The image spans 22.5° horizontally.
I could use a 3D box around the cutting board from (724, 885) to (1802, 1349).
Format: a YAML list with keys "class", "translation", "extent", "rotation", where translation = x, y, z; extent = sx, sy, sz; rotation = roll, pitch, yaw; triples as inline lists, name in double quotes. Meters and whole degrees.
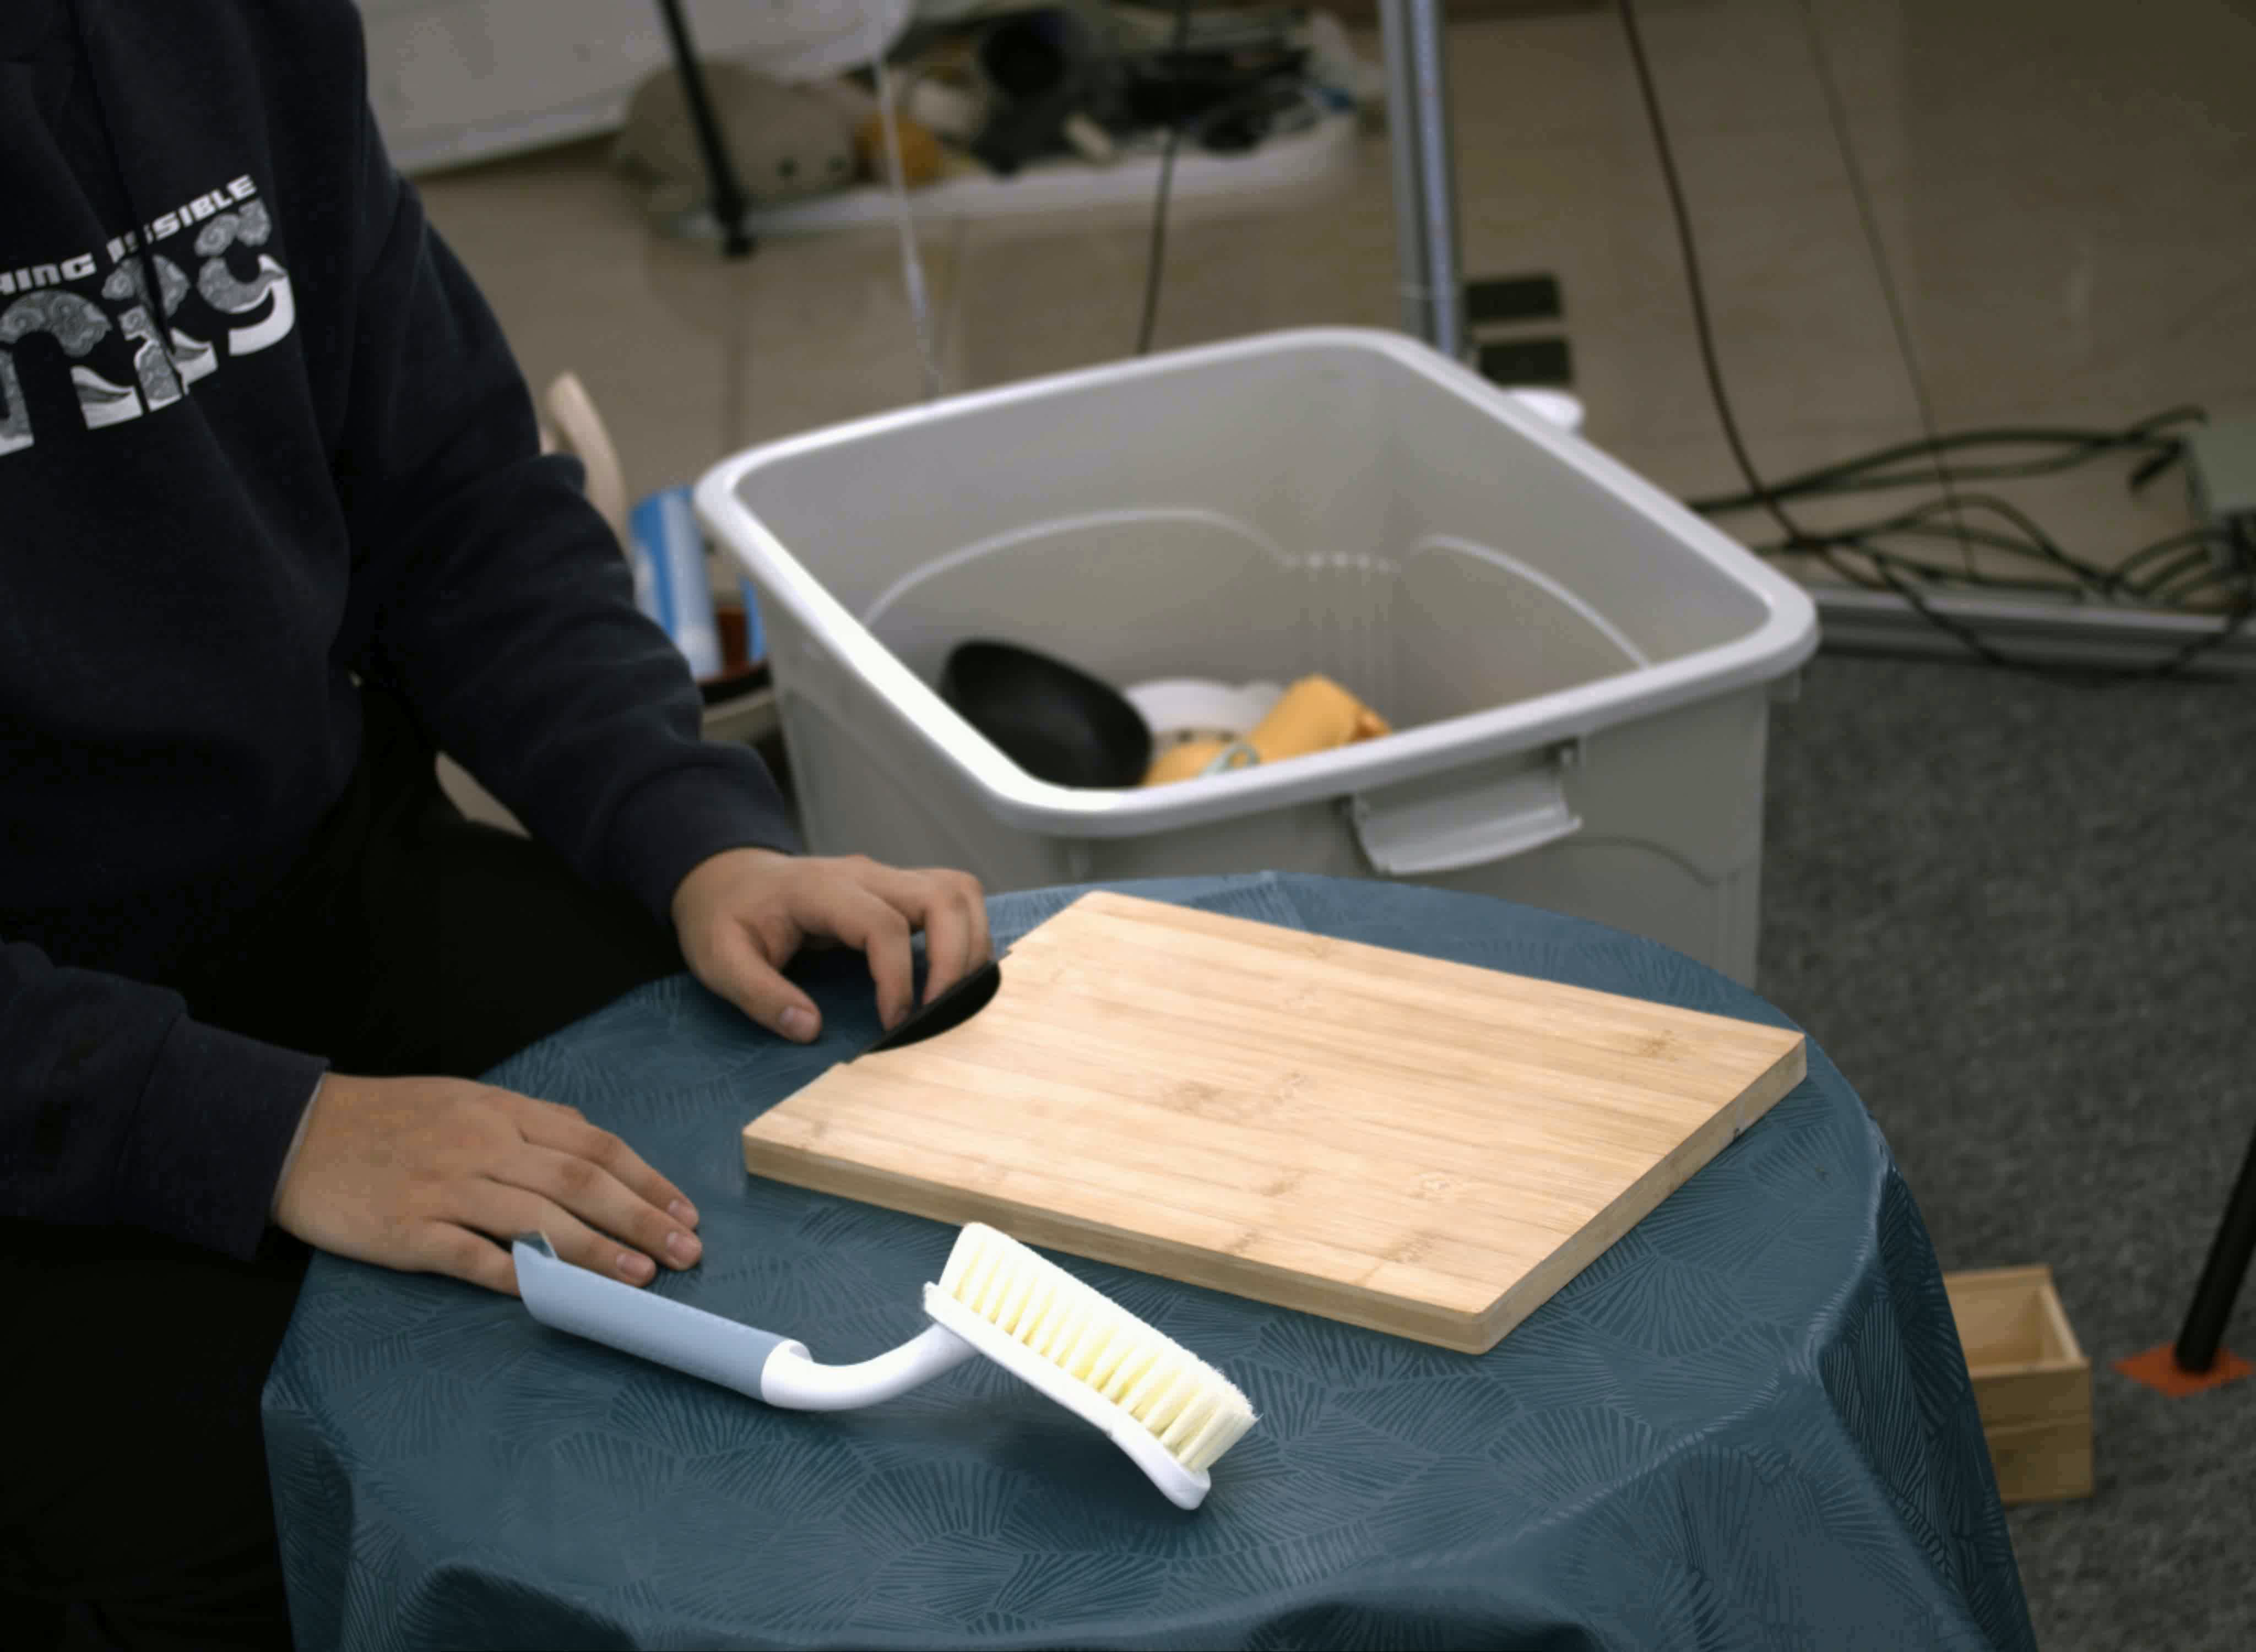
- class: "cutting board"
  translation: [0.051, 0.106, 2.187]
  extent: [0.347, 0.024, 0.248]
  rotation: [11, 29, 33]

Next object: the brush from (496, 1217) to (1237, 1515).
- class: "brush"
  translation: [-0.095, 0.163, 2.017]
  extent: [0.323, 0.084, 0.083]
  rotation: [15, 41, 35]
